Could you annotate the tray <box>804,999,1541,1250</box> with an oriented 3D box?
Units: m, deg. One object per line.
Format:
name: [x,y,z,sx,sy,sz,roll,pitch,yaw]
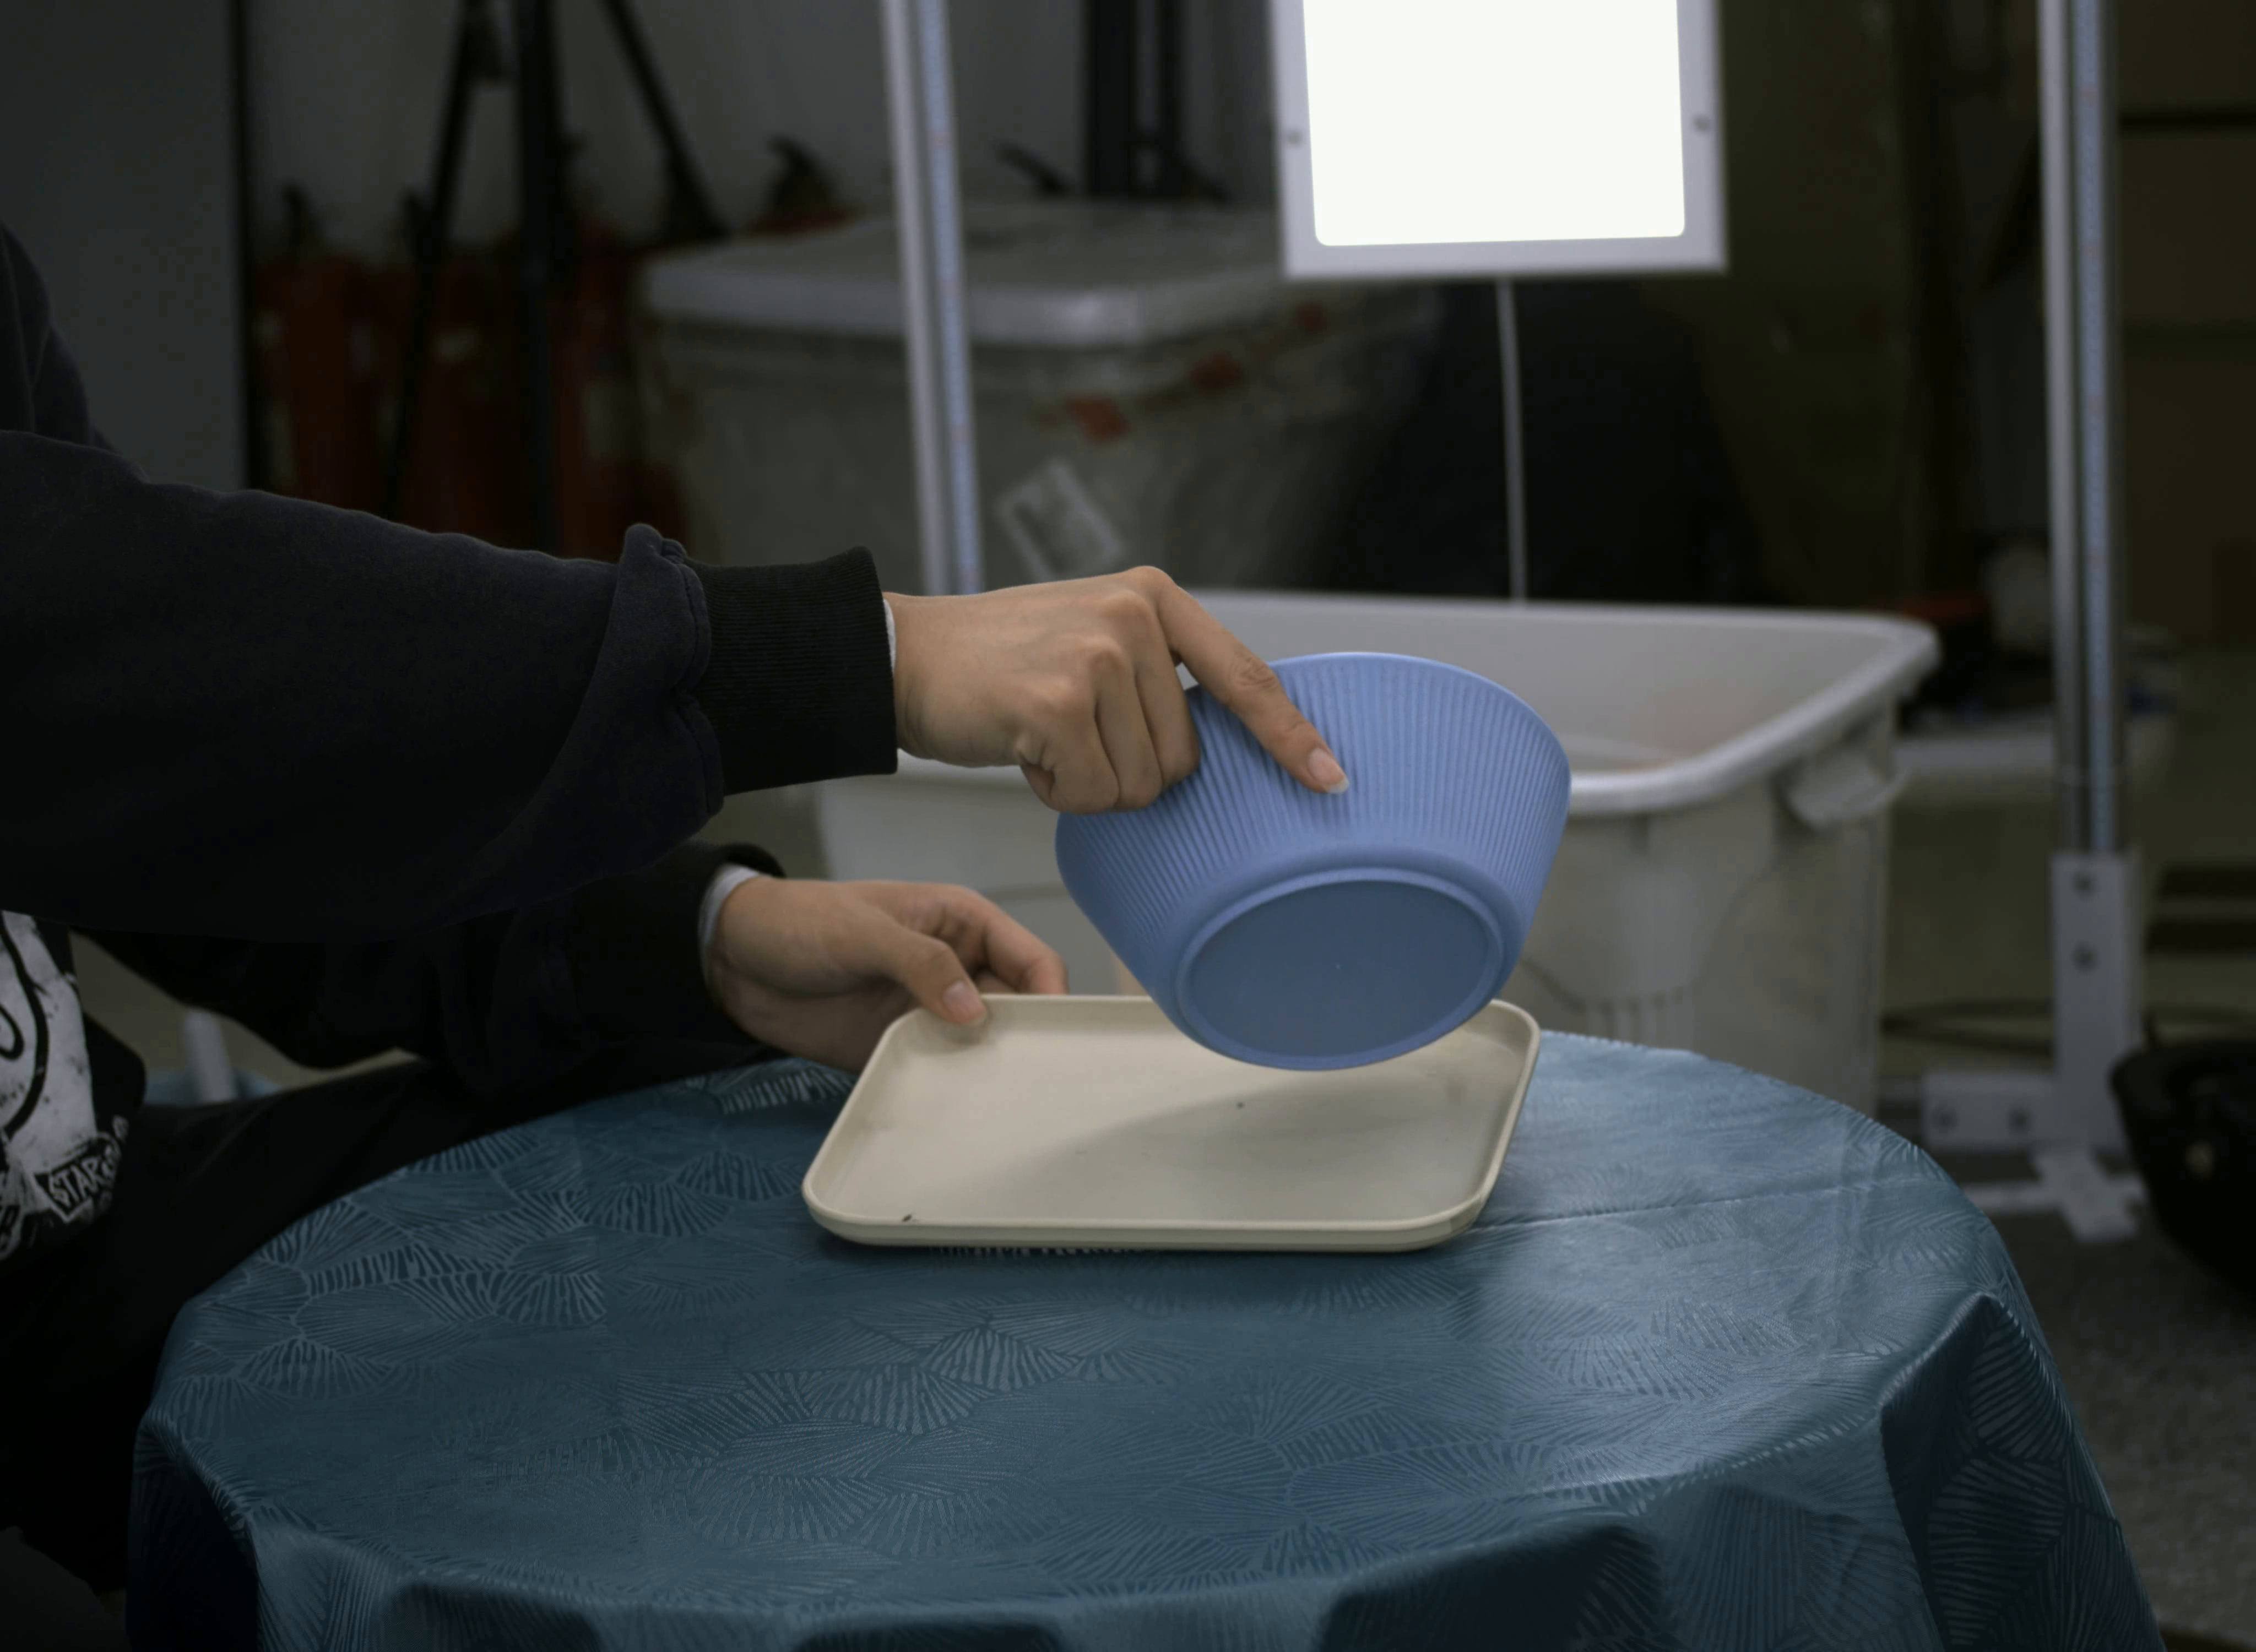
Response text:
tray: [0.018,0.103,1.897,0.242,0.017,0.169,-1,24,15]

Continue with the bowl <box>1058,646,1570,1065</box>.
bowl: [0.067,0.021,1.832,0.175,0.177,0.070,-4,52,-3]
